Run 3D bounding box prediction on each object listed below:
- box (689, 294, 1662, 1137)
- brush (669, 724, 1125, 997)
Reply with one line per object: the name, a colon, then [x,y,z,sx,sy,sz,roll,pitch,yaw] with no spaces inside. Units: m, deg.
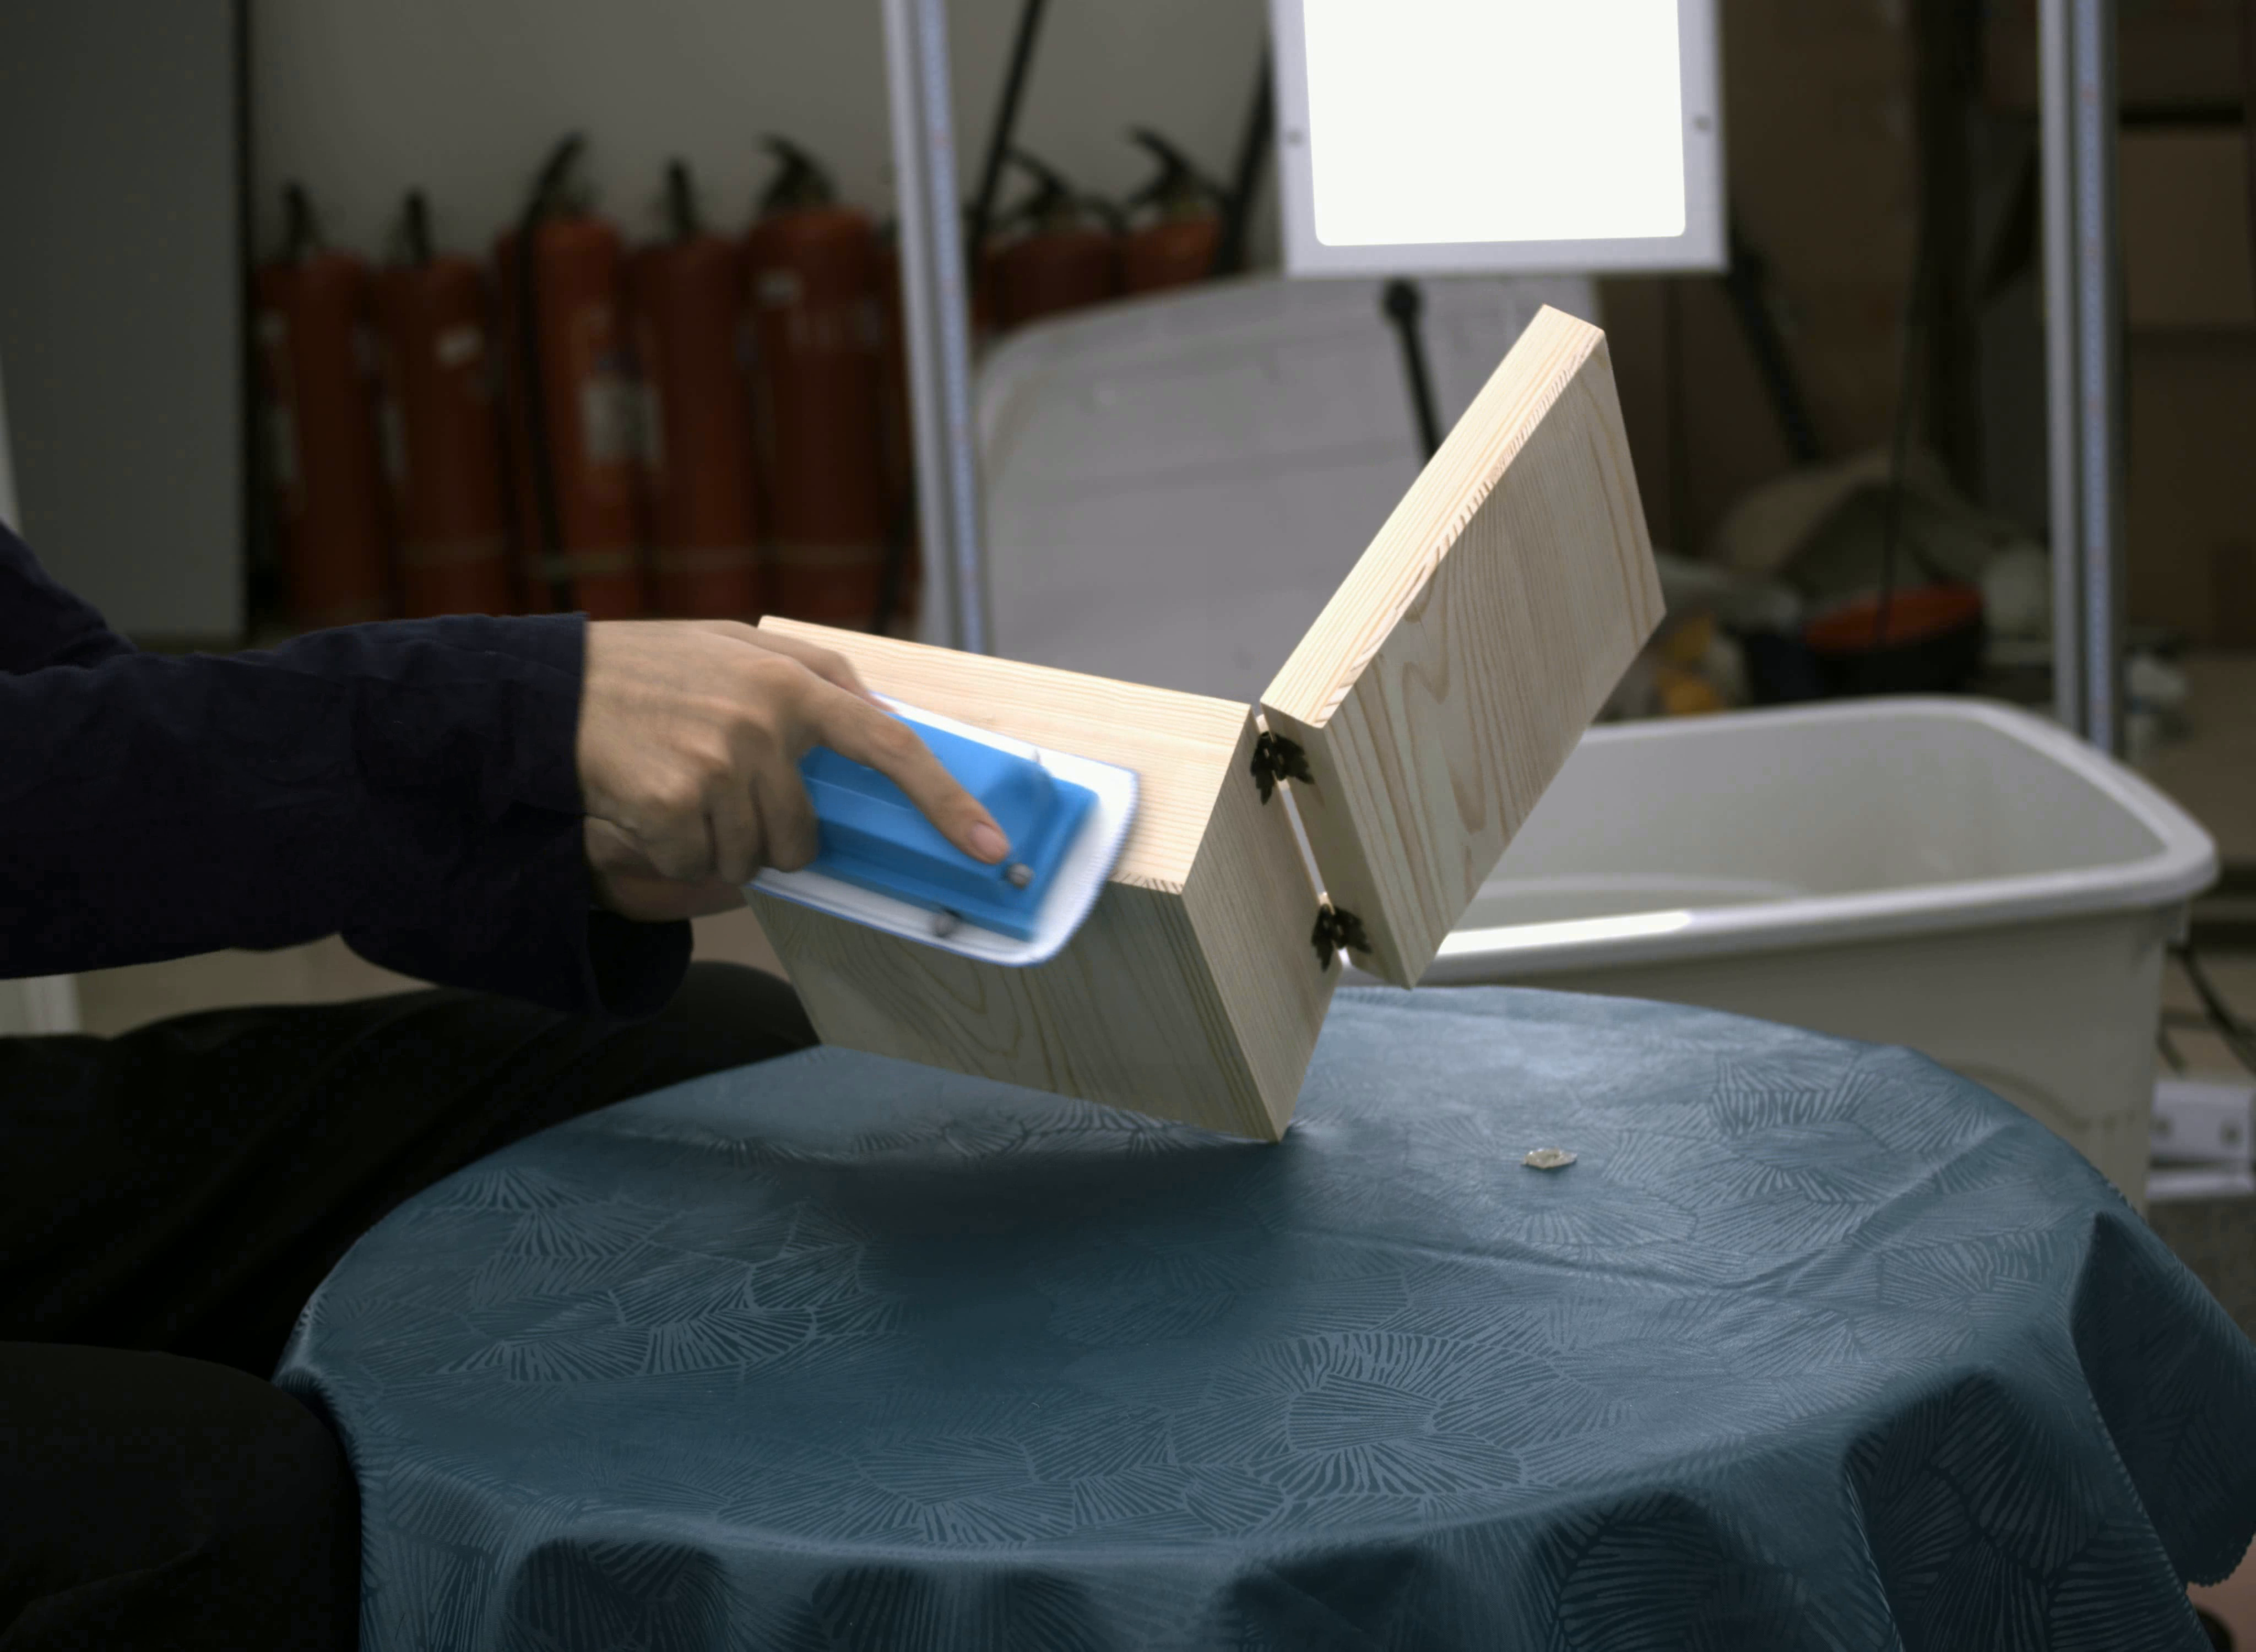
box: [0.022,-0.052,1.938,0.268,0.251,0.181,11,-26,20]
brush: [-0.077,0.007,1.800,0.145,0.056,0.083,11,56,19]
